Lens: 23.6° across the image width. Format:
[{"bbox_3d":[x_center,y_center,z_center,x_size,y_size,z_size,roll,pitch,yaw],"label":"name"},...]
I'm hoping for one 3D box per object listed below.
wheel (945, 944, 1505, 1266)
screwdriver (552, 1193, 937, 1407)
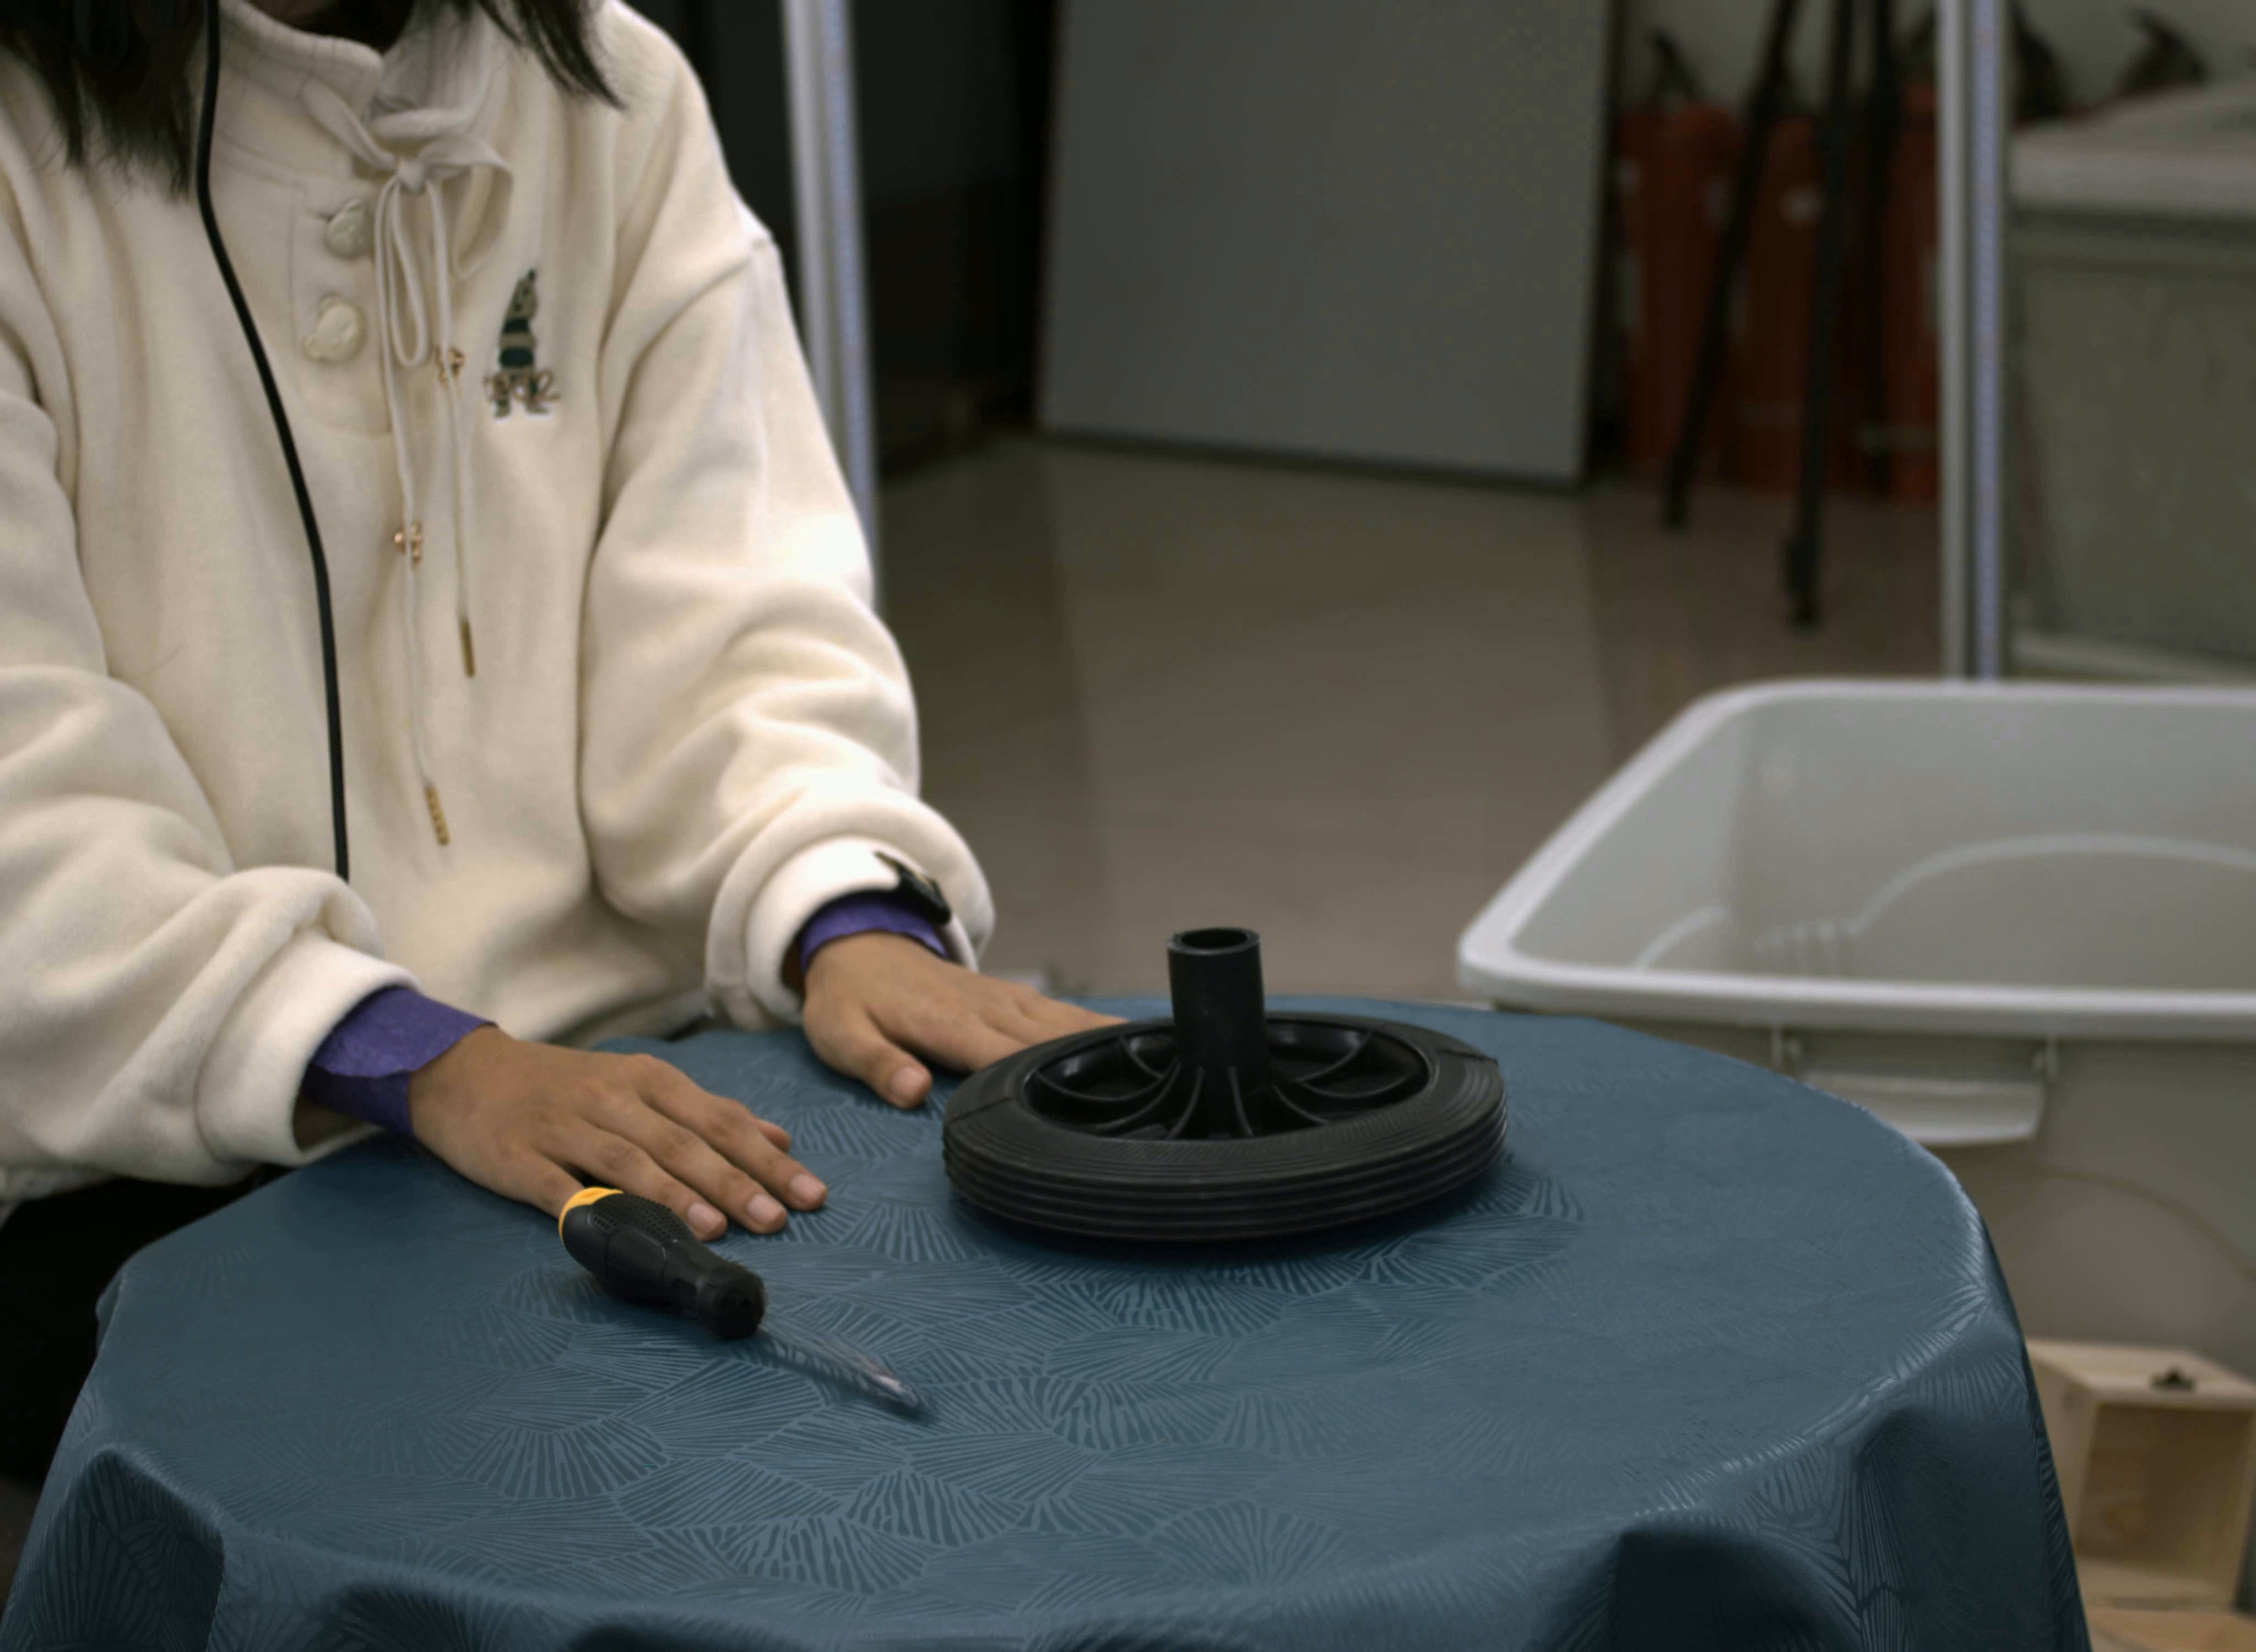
[{"bbox_3d":[0.030,0.081,1.767,0.188,0.080,0.187,3,18,26],"label":"wheel"},{"bbox_3d":[-0.120,0.148,1.647,0.031,0.032,0.200,-12,18,-32],"label":"screwdriver"}]
